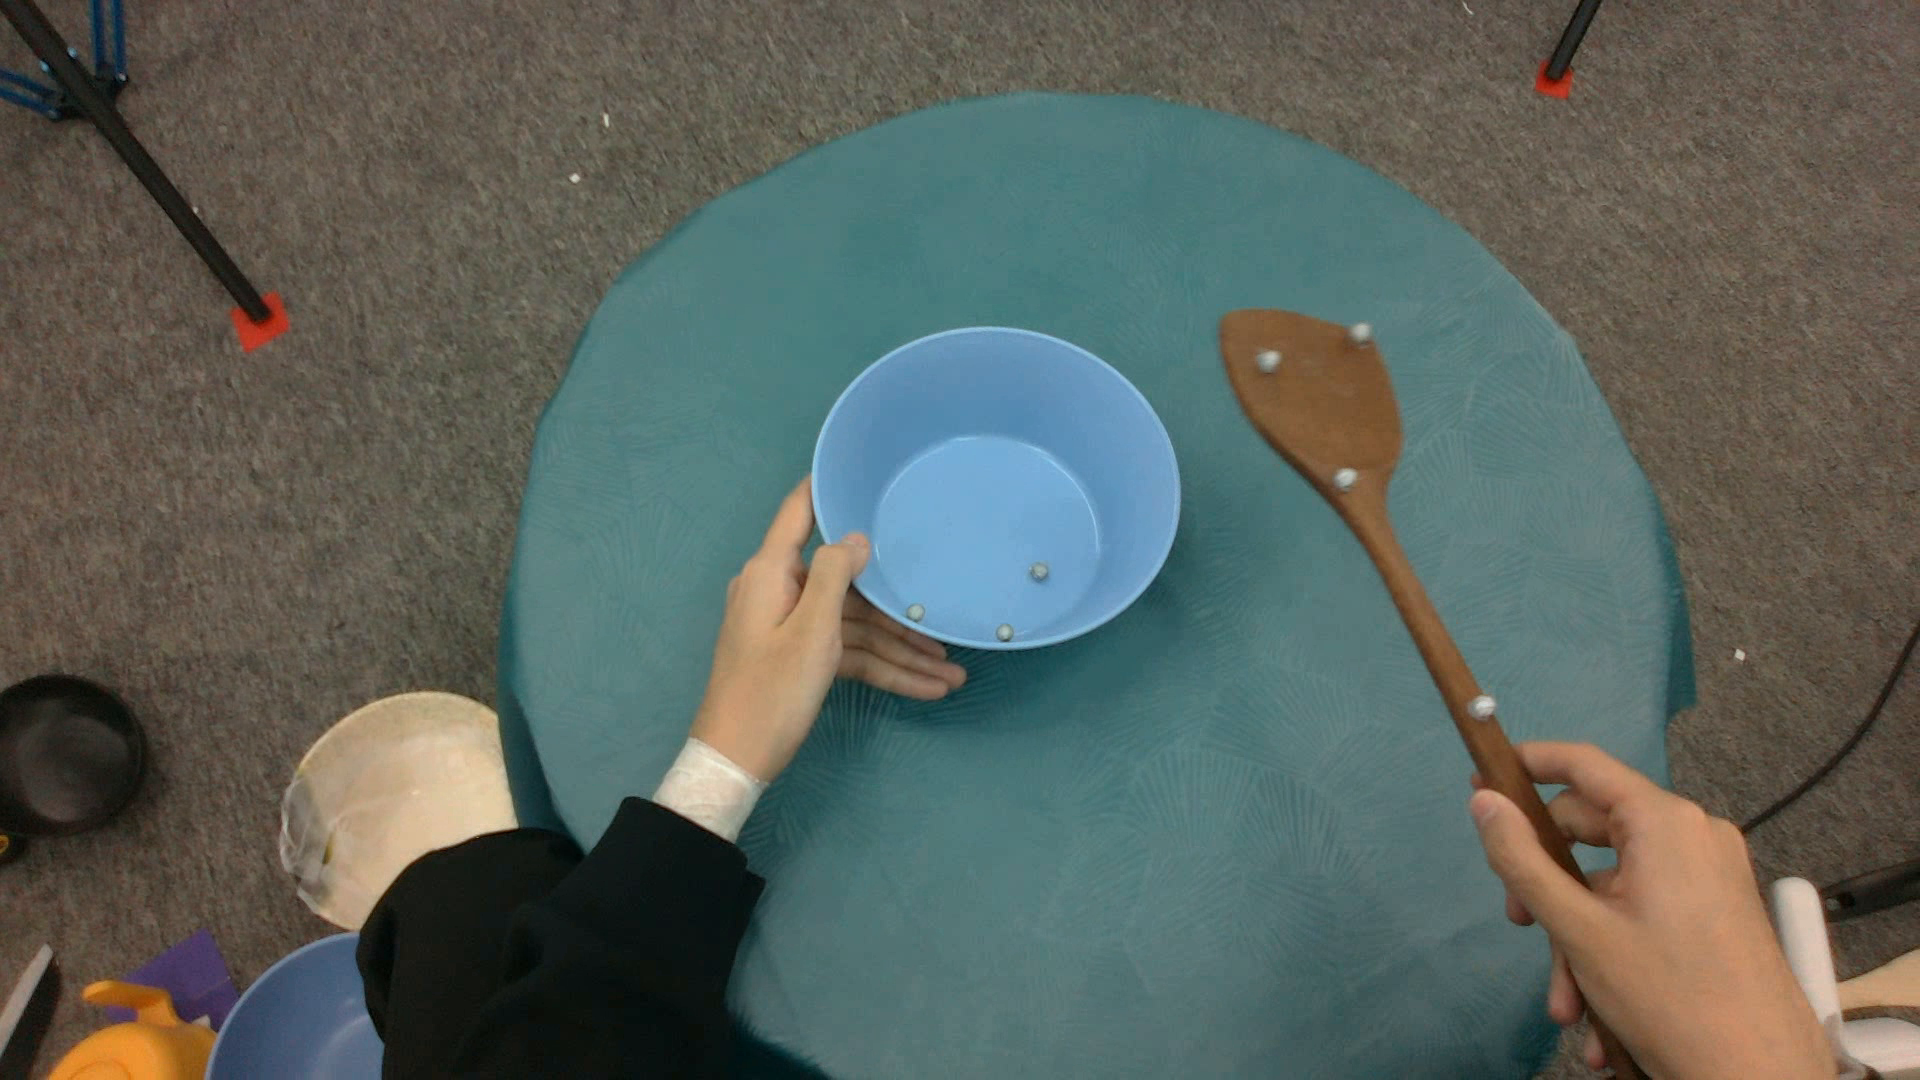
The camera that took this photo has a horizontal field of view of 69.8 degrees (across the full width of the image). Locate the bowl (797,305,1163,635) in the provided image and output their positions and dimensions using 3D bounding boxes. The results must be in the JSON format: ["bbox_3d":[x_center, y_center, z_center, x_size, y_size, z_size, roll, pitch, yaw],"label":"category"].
[{"bbox_3d":[0.008,-0.025,0.682,0.176,0.070,0.176,2,65,-4],"label":"bowl"}]

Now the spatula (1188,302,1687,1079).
[{"bbox_3d":[0.185,0.045,0.544,0.096,0.015,0.387,3,52,-28],"label":"spatula"}]
